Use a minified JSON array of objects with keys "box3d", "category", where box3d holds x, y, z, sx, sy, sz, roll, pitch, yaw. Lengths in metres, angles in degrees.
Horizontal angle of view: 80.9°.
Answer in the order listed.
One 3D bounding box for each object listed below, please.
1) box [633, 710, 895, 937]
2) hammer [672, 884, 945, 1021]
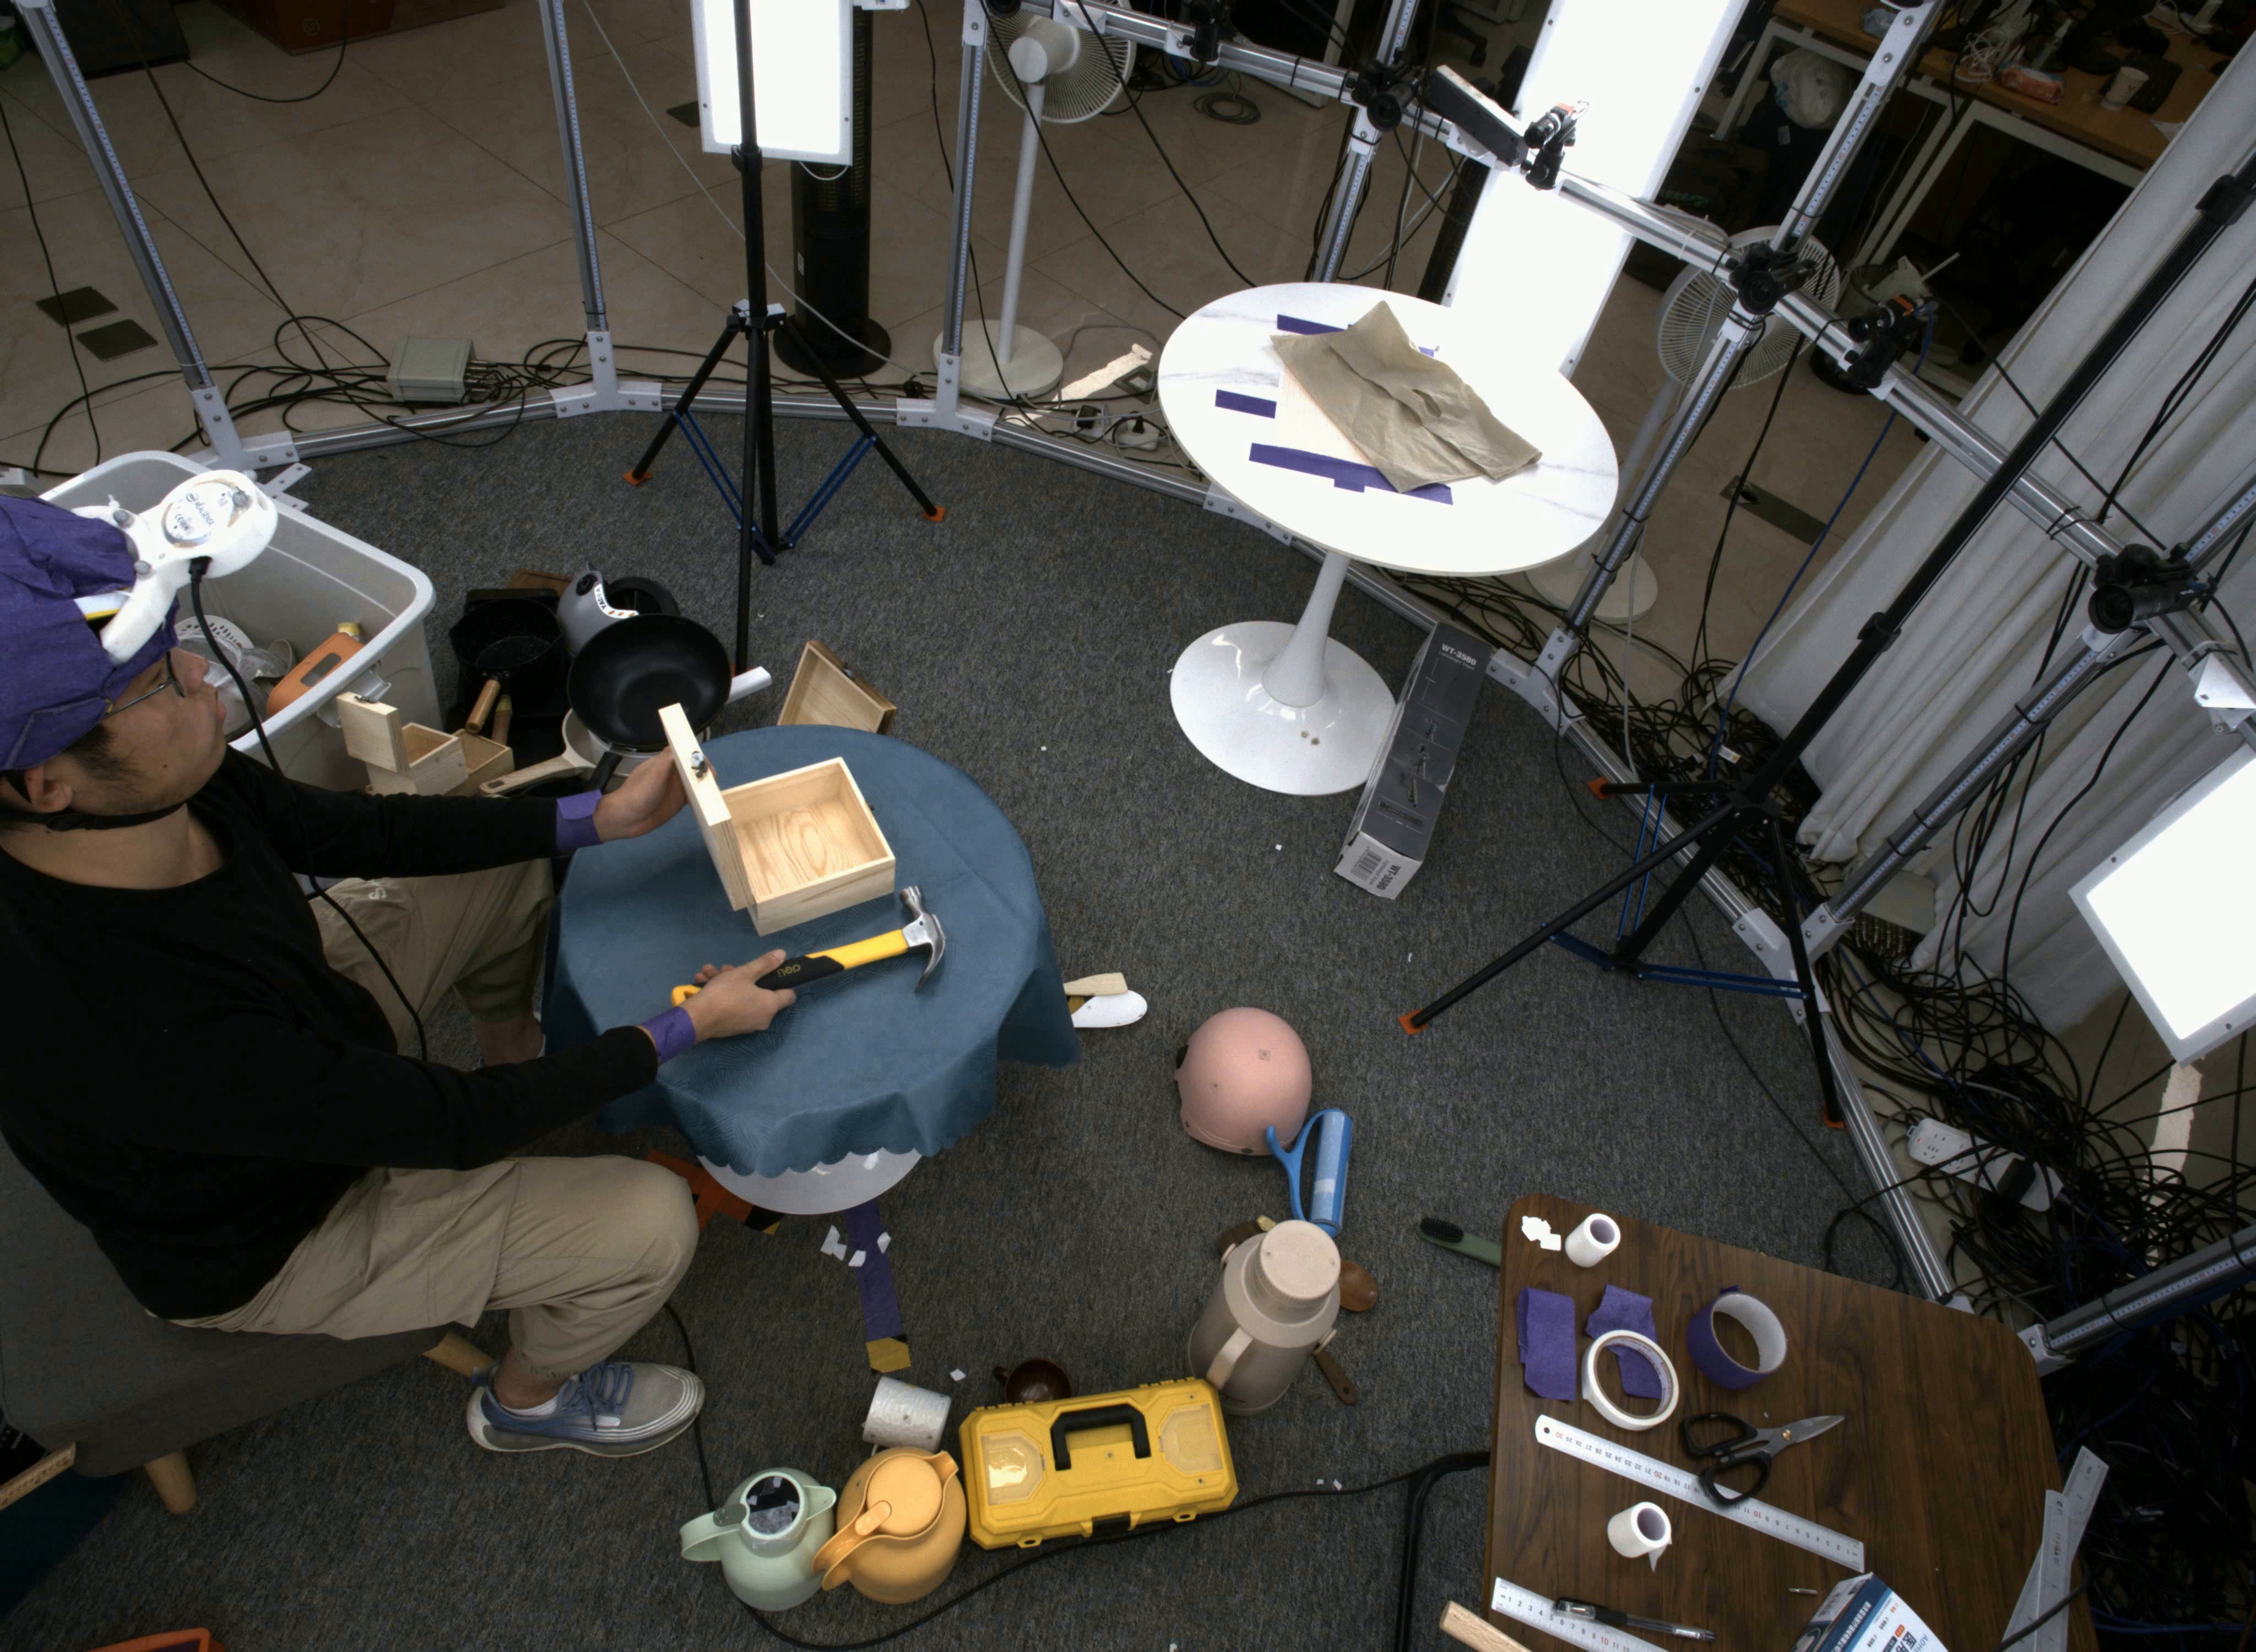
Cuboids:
[{"box3d":[-0.433,-0.023,1.575,0.266,0.258,0.177,-20,61,-26],"category":"box"},{"box3d":[-0.378,0.166,1.559,0.341,0.032,0.129,-14,67,-31],"category":"hammer"}]
